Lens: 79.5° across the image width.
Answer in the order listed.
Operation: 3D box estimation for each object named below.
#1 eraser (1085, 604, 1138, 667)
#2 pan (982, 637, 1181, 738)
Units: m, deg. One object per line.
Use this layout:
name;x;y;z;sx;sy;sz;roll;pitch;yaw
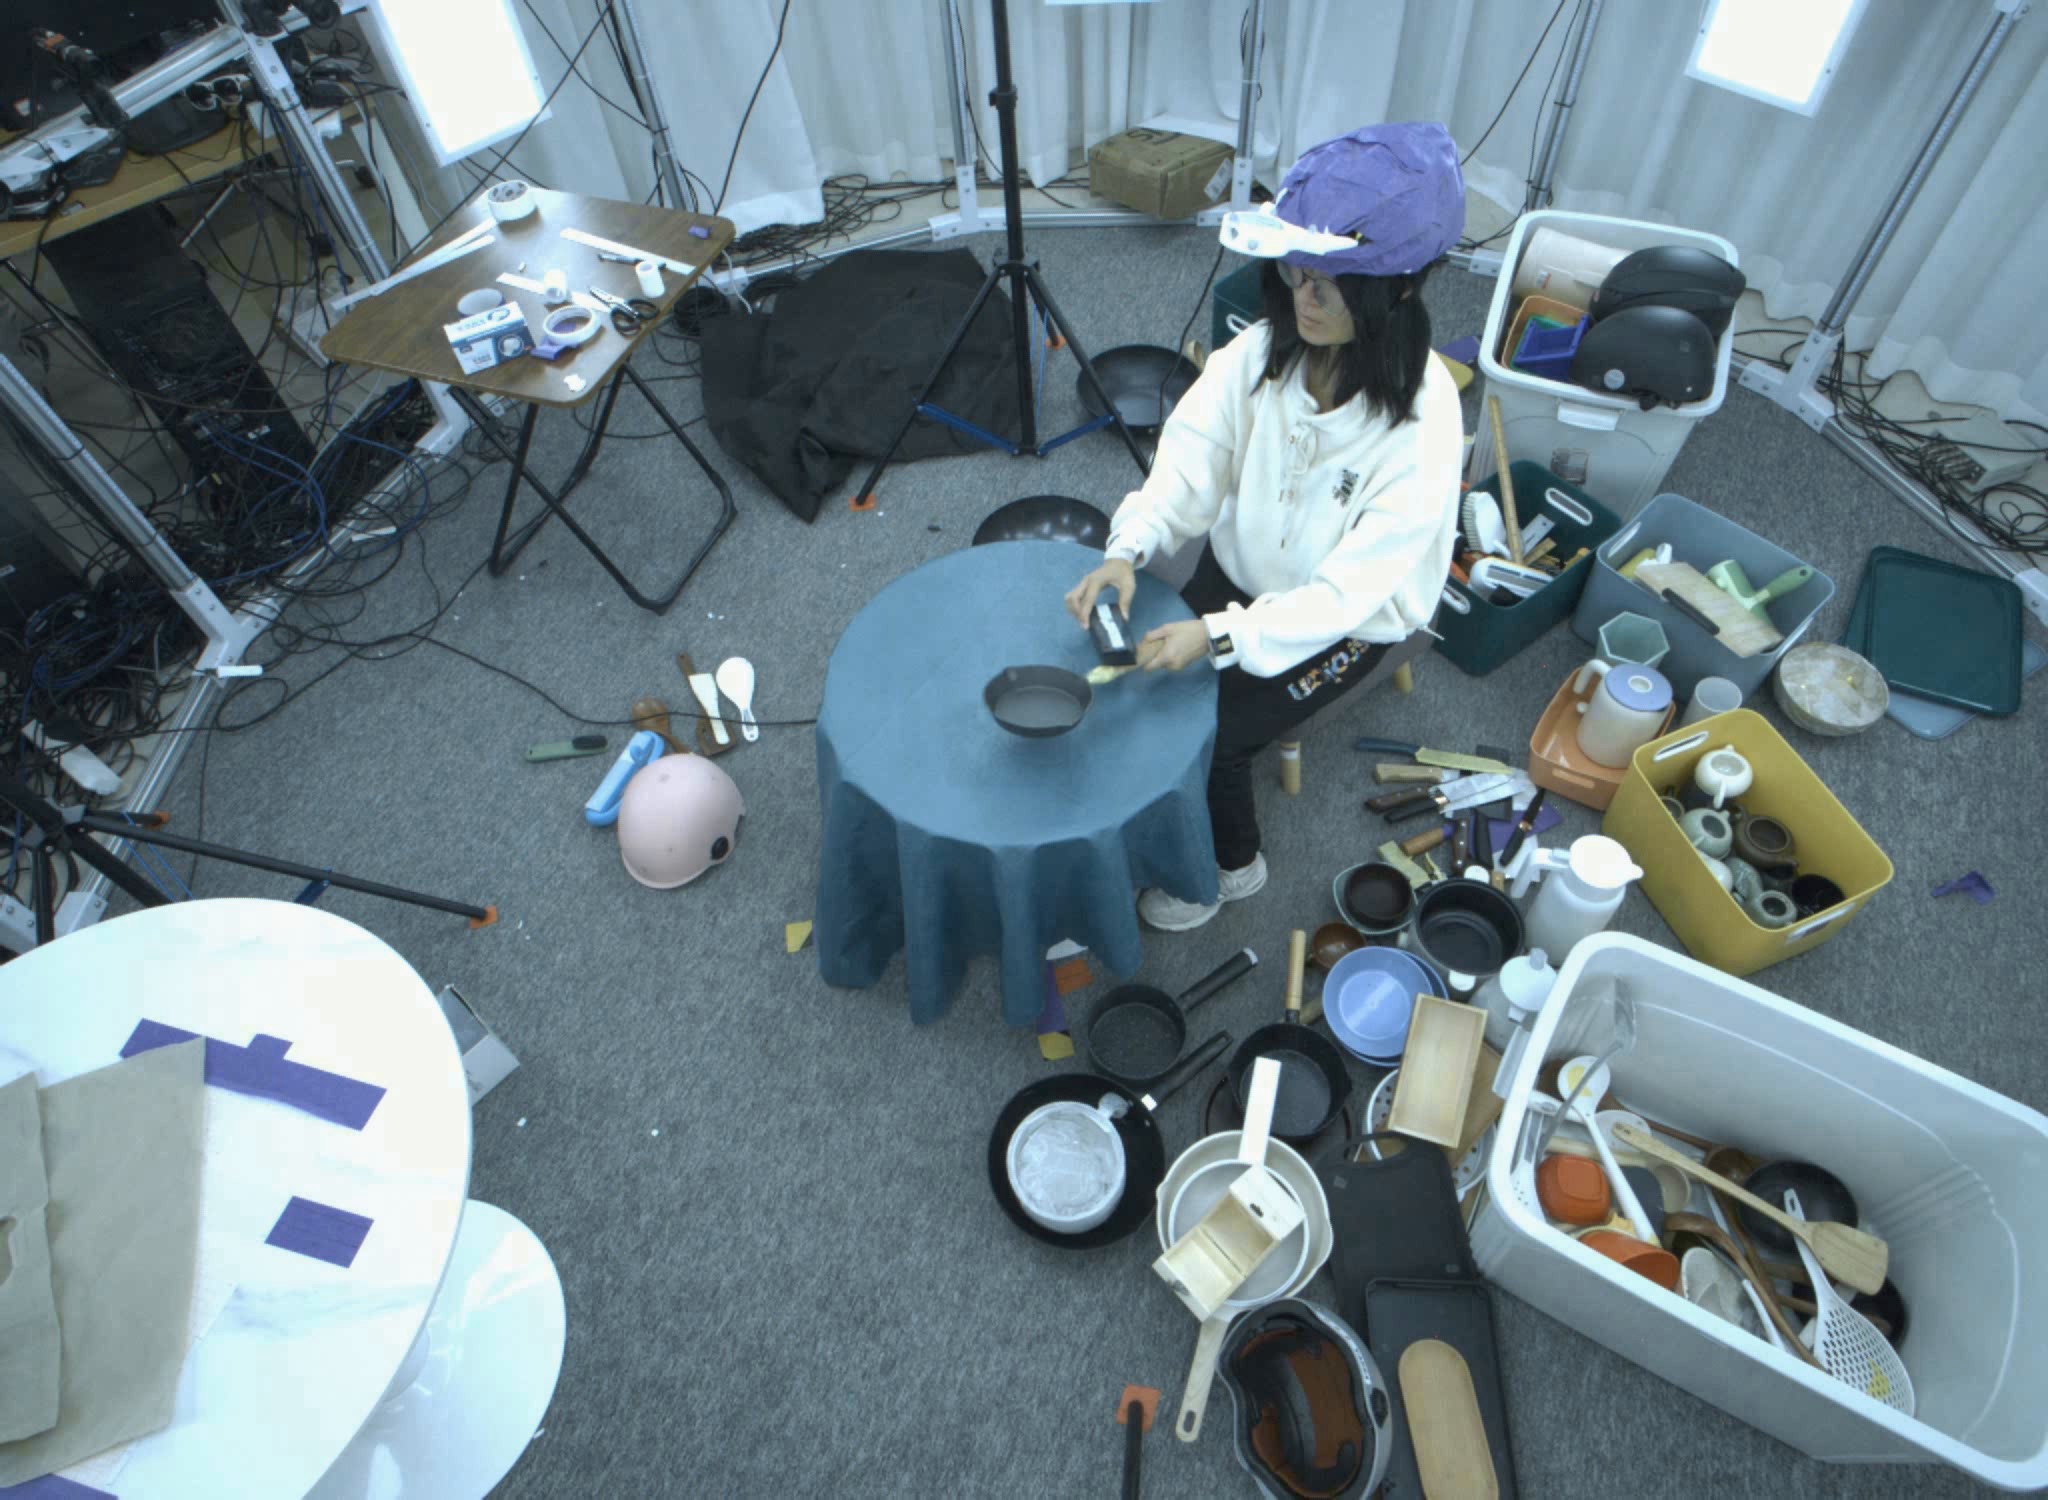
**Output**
eraser;0.127;-0.167;1.792;0.054;0.031;0.123;-6;40;-8
pan;0.093;-0.098;1.759;0.328;0.050;0.165;-20;42;-24
